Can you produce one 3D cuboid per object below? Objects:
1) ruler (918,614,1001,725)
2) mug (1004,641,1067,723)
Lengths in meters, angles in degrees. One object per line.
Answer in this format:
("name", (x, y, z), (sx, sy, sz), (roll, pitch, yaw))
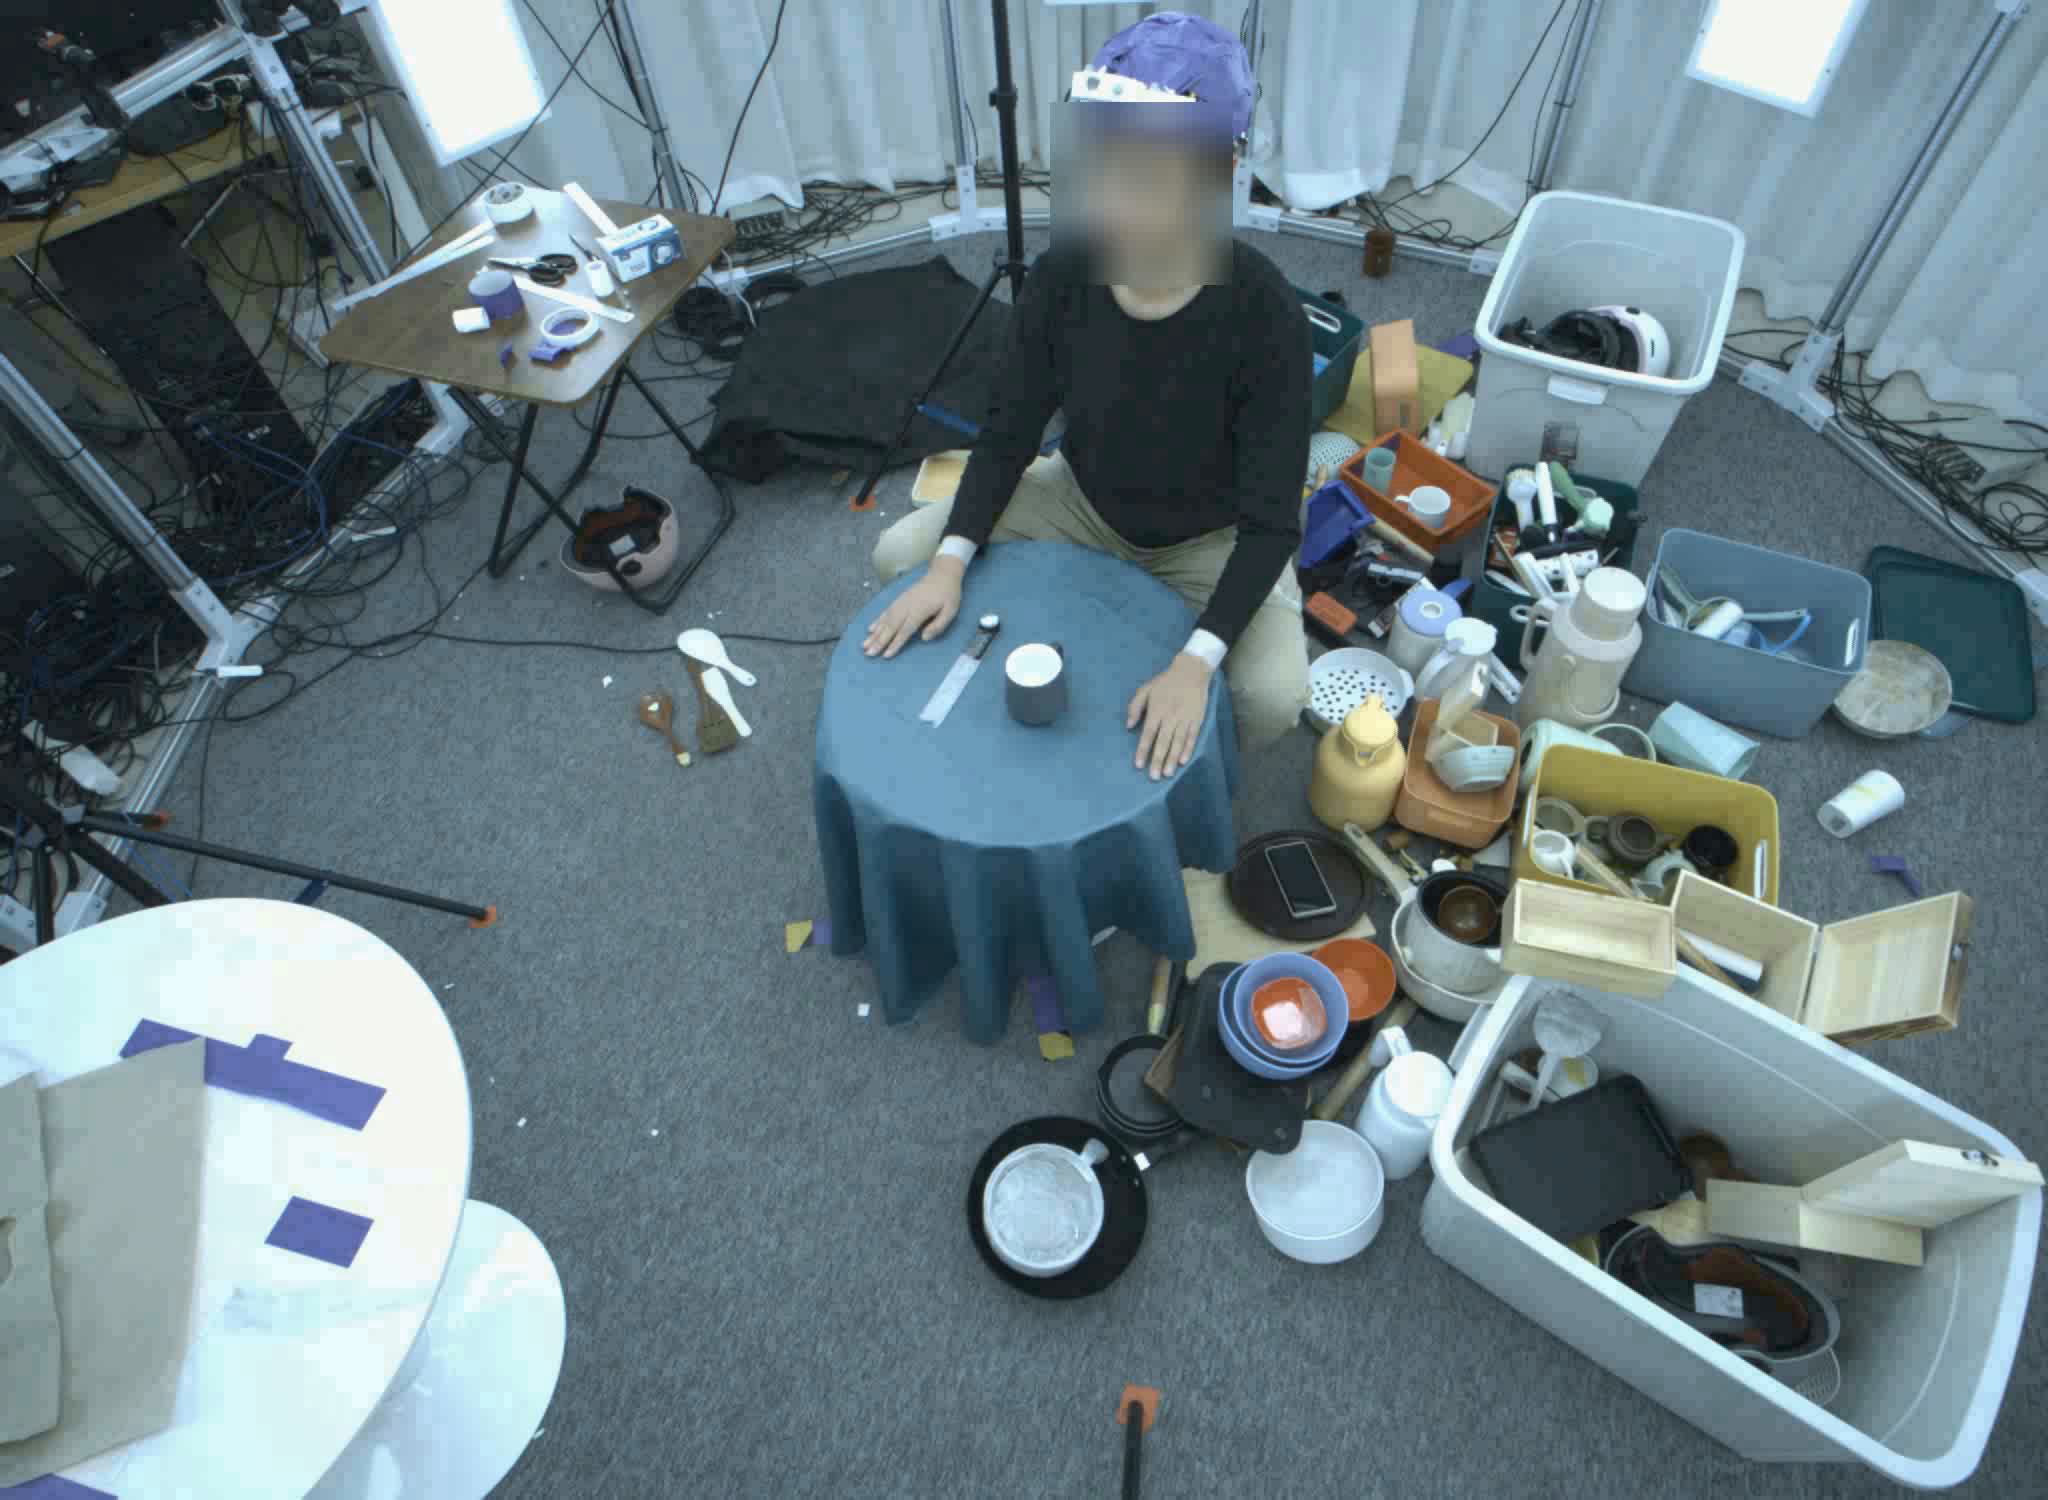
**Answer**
("ruler", (-0.096, -0.127, 1.867), (0.038, 0.024, 0.218), (17, 56, 22))
("mug", (0.024, -0.108, 1.806), (0.092, 0.091, 0.123), (24, 60, 18))
